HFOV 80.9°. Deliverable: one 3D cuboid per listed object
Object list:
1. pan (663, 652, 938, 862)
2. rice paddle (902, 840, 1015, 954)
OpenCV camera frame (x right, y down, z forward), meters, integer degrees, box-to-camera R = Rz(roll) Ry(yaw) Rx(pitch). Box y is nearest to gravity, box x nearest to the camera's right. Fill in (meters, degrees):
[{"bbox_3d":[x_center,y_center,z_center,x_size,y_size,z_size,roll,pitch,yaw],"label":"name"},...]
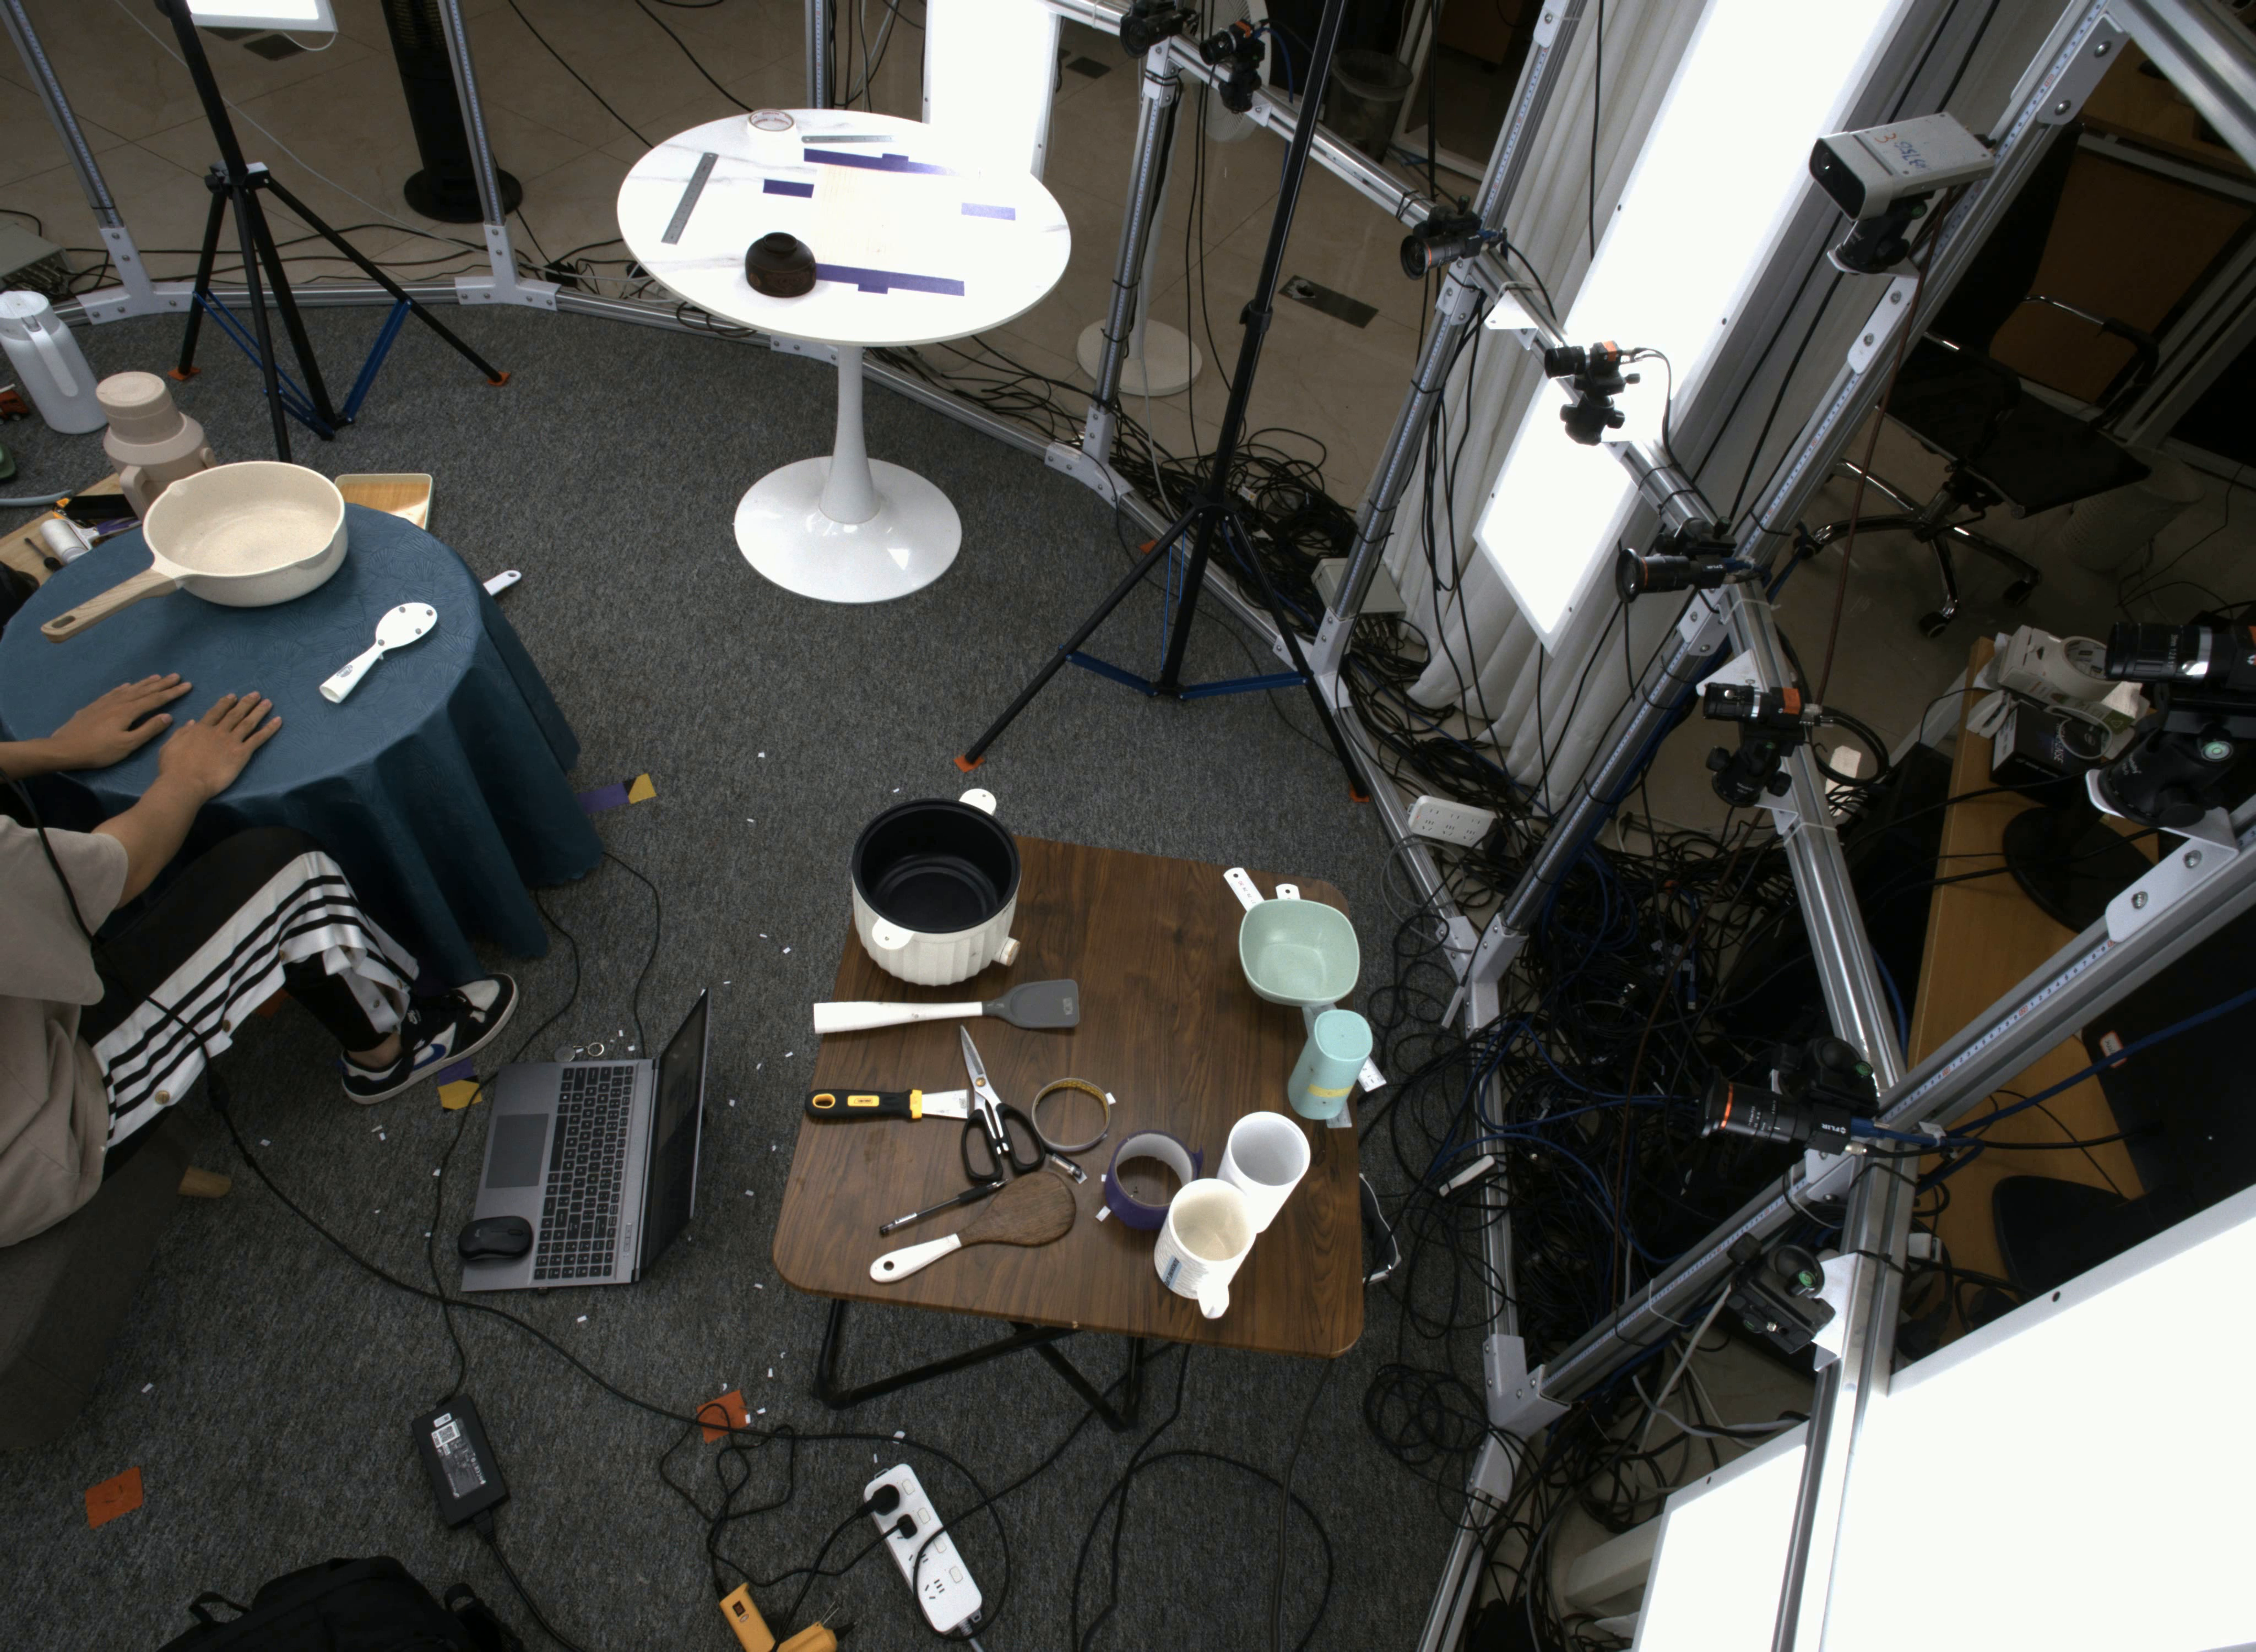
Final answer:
[{"bbox_3d":[-0.441,-0.068,1.721,0.258,0.104,0.435,37,55,13],"label":"pan"},{"bbox_3d":[-0.220,0.085,1.699,0.067,0.030,0.205,33,54,10],"label":"rice paddle"}]
